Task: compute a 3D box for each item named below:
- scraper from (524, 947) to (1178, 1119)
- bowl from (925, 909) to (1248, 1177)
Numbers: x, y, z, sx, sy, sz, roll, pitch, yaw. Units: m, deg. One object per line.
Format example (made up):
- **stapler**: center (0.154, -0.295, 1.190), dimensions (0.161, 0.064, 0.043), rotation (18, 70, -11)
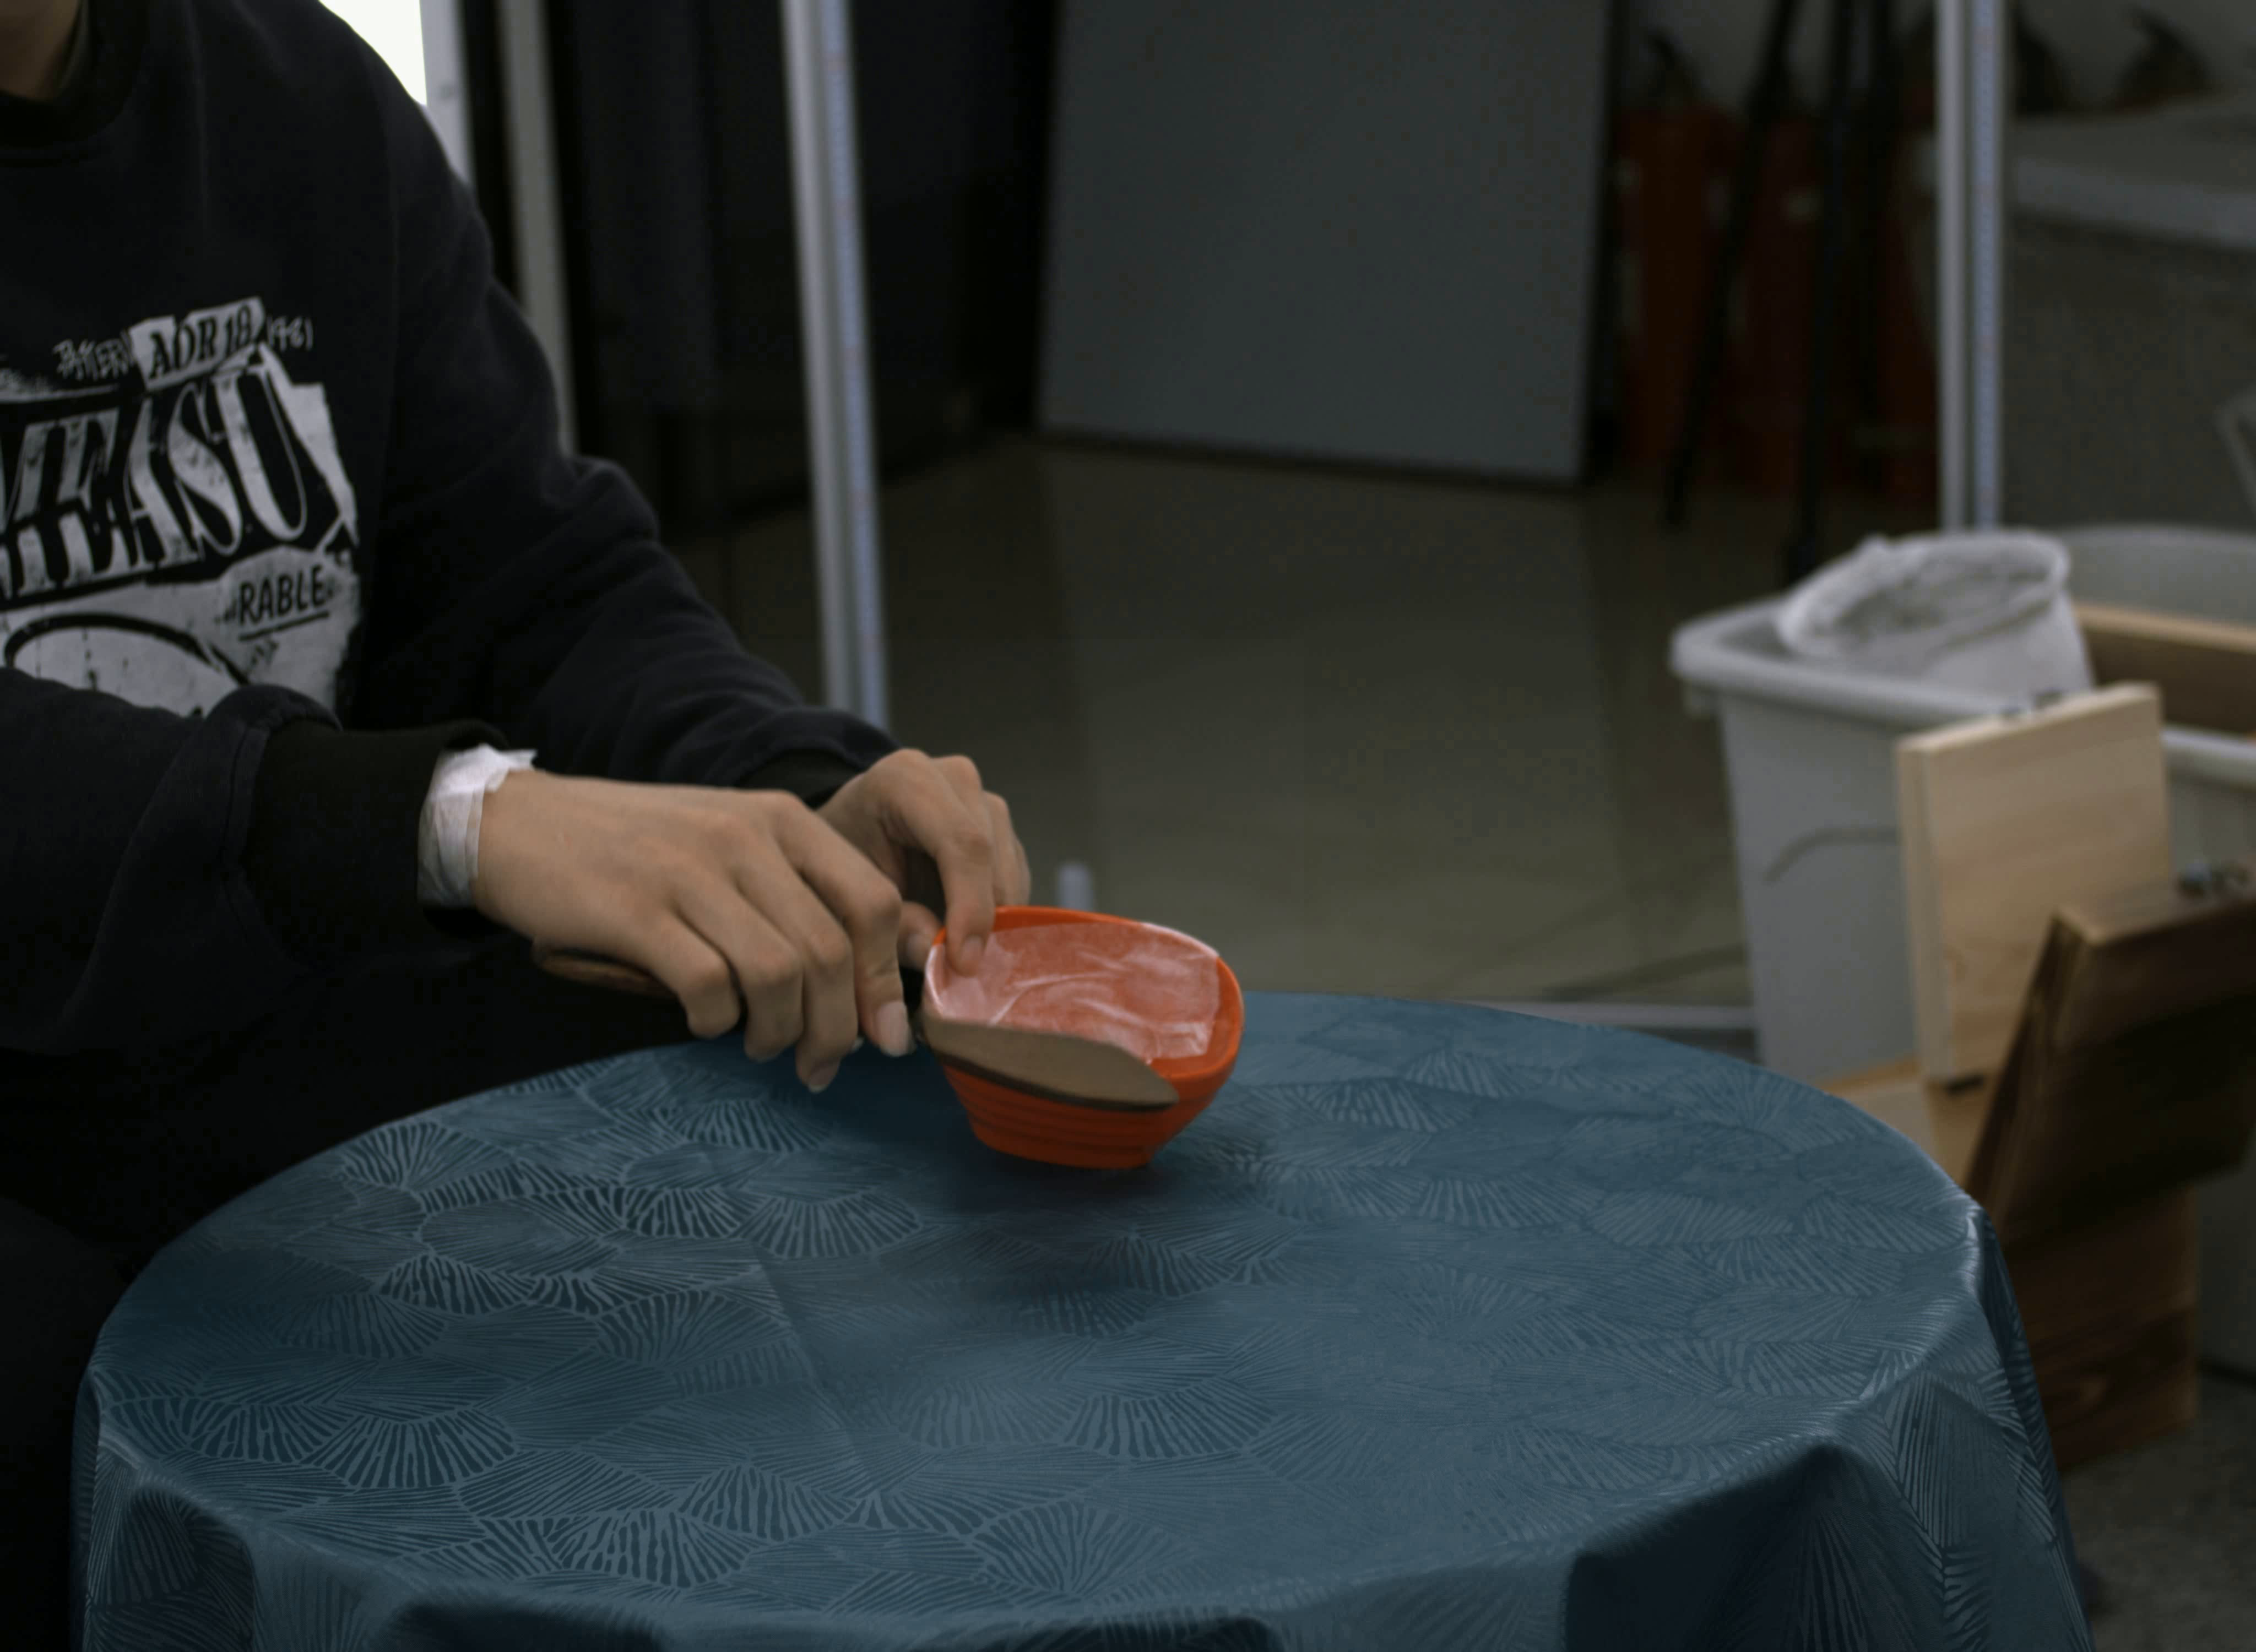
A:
- **scraper**: center (-0.086, 0.063, 1.664), dimensions (0.207, 0.011, 0.076), rotation (14, 7, -21)
- **bowl**: center (-0.017, 0.077, 1.808), dimensions (0.117, 0.052, 0.119), rotation (7, 28, -5)
